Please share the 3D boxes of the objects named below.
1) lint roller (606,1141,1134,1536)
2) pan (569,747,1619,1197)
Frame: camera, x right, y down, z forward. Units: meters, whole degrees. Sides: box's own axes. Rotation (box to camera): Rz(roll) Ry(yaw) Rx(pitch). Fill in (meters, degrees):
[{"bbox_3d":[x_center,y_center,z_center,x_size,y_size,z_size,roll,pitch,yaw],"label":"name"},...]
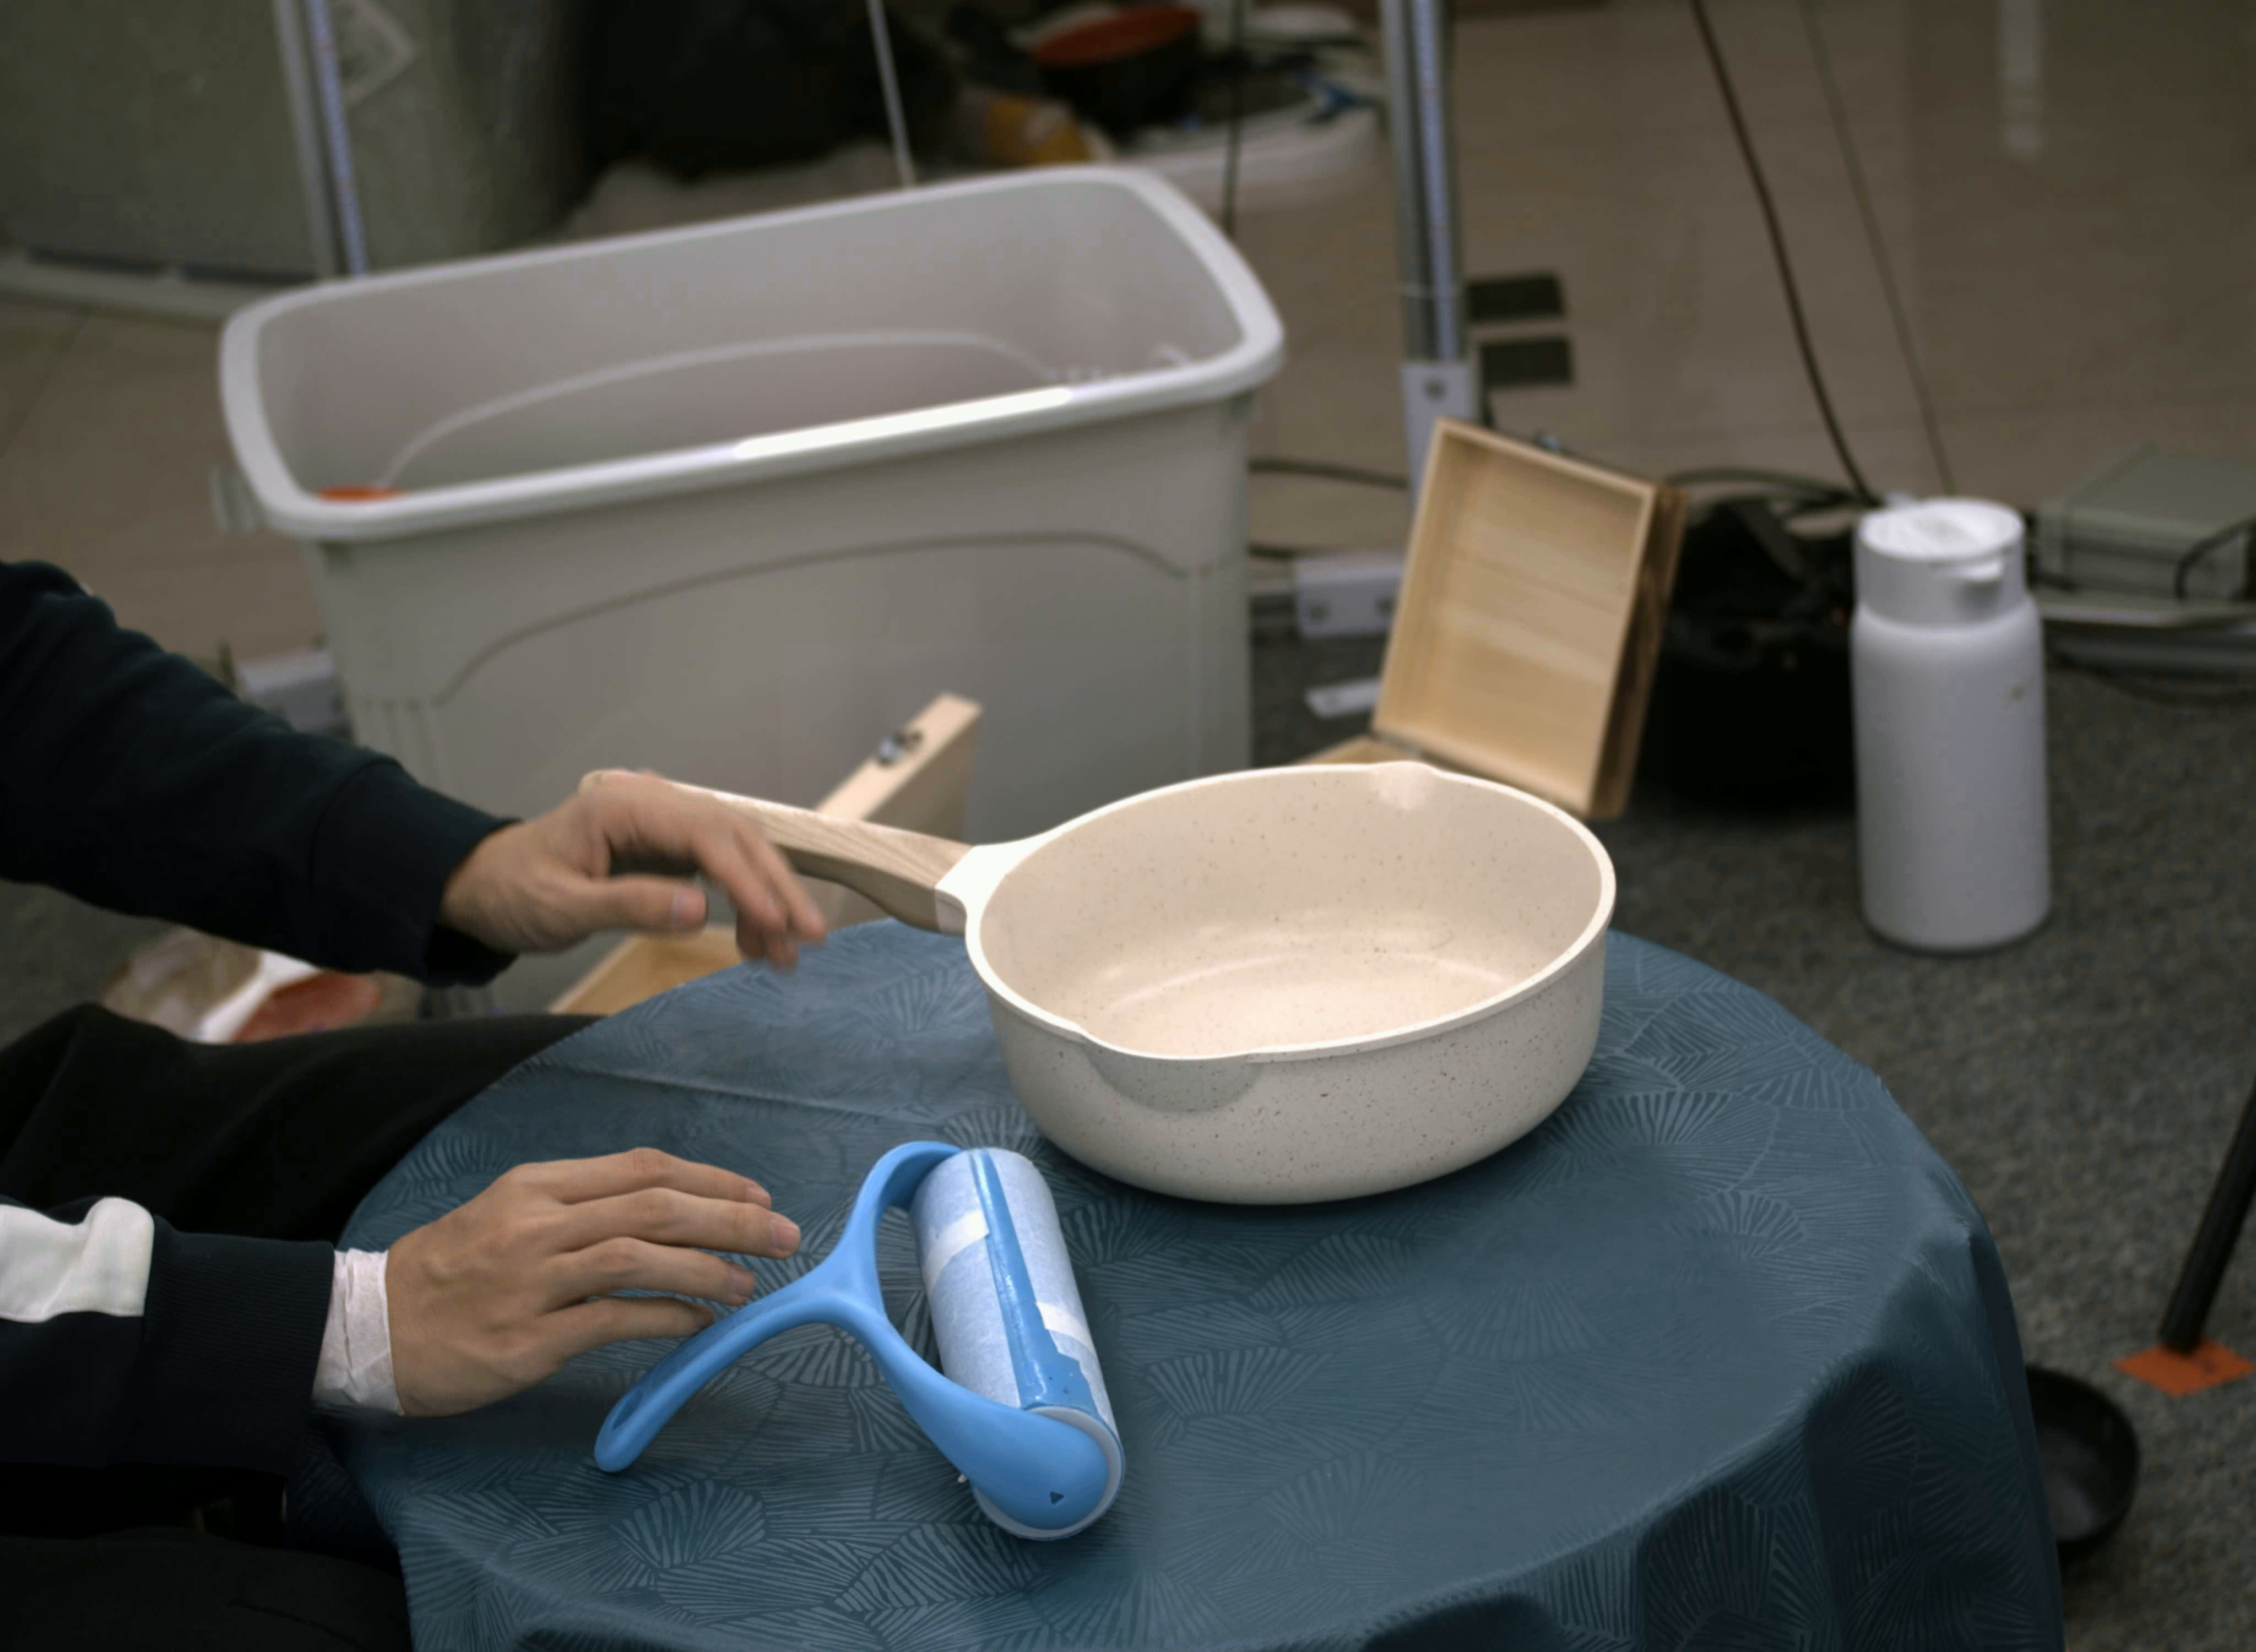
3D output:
[{"bbox_3d":[-0.098,0.188,1.995,0.180,0.069,0.225,-9,26,-8],"label":"lint roller"},{"bbox_3d":[-0.018,0.047,2.223,0.433,0.103,0.260,5,29,23],"label":"pan"}]
